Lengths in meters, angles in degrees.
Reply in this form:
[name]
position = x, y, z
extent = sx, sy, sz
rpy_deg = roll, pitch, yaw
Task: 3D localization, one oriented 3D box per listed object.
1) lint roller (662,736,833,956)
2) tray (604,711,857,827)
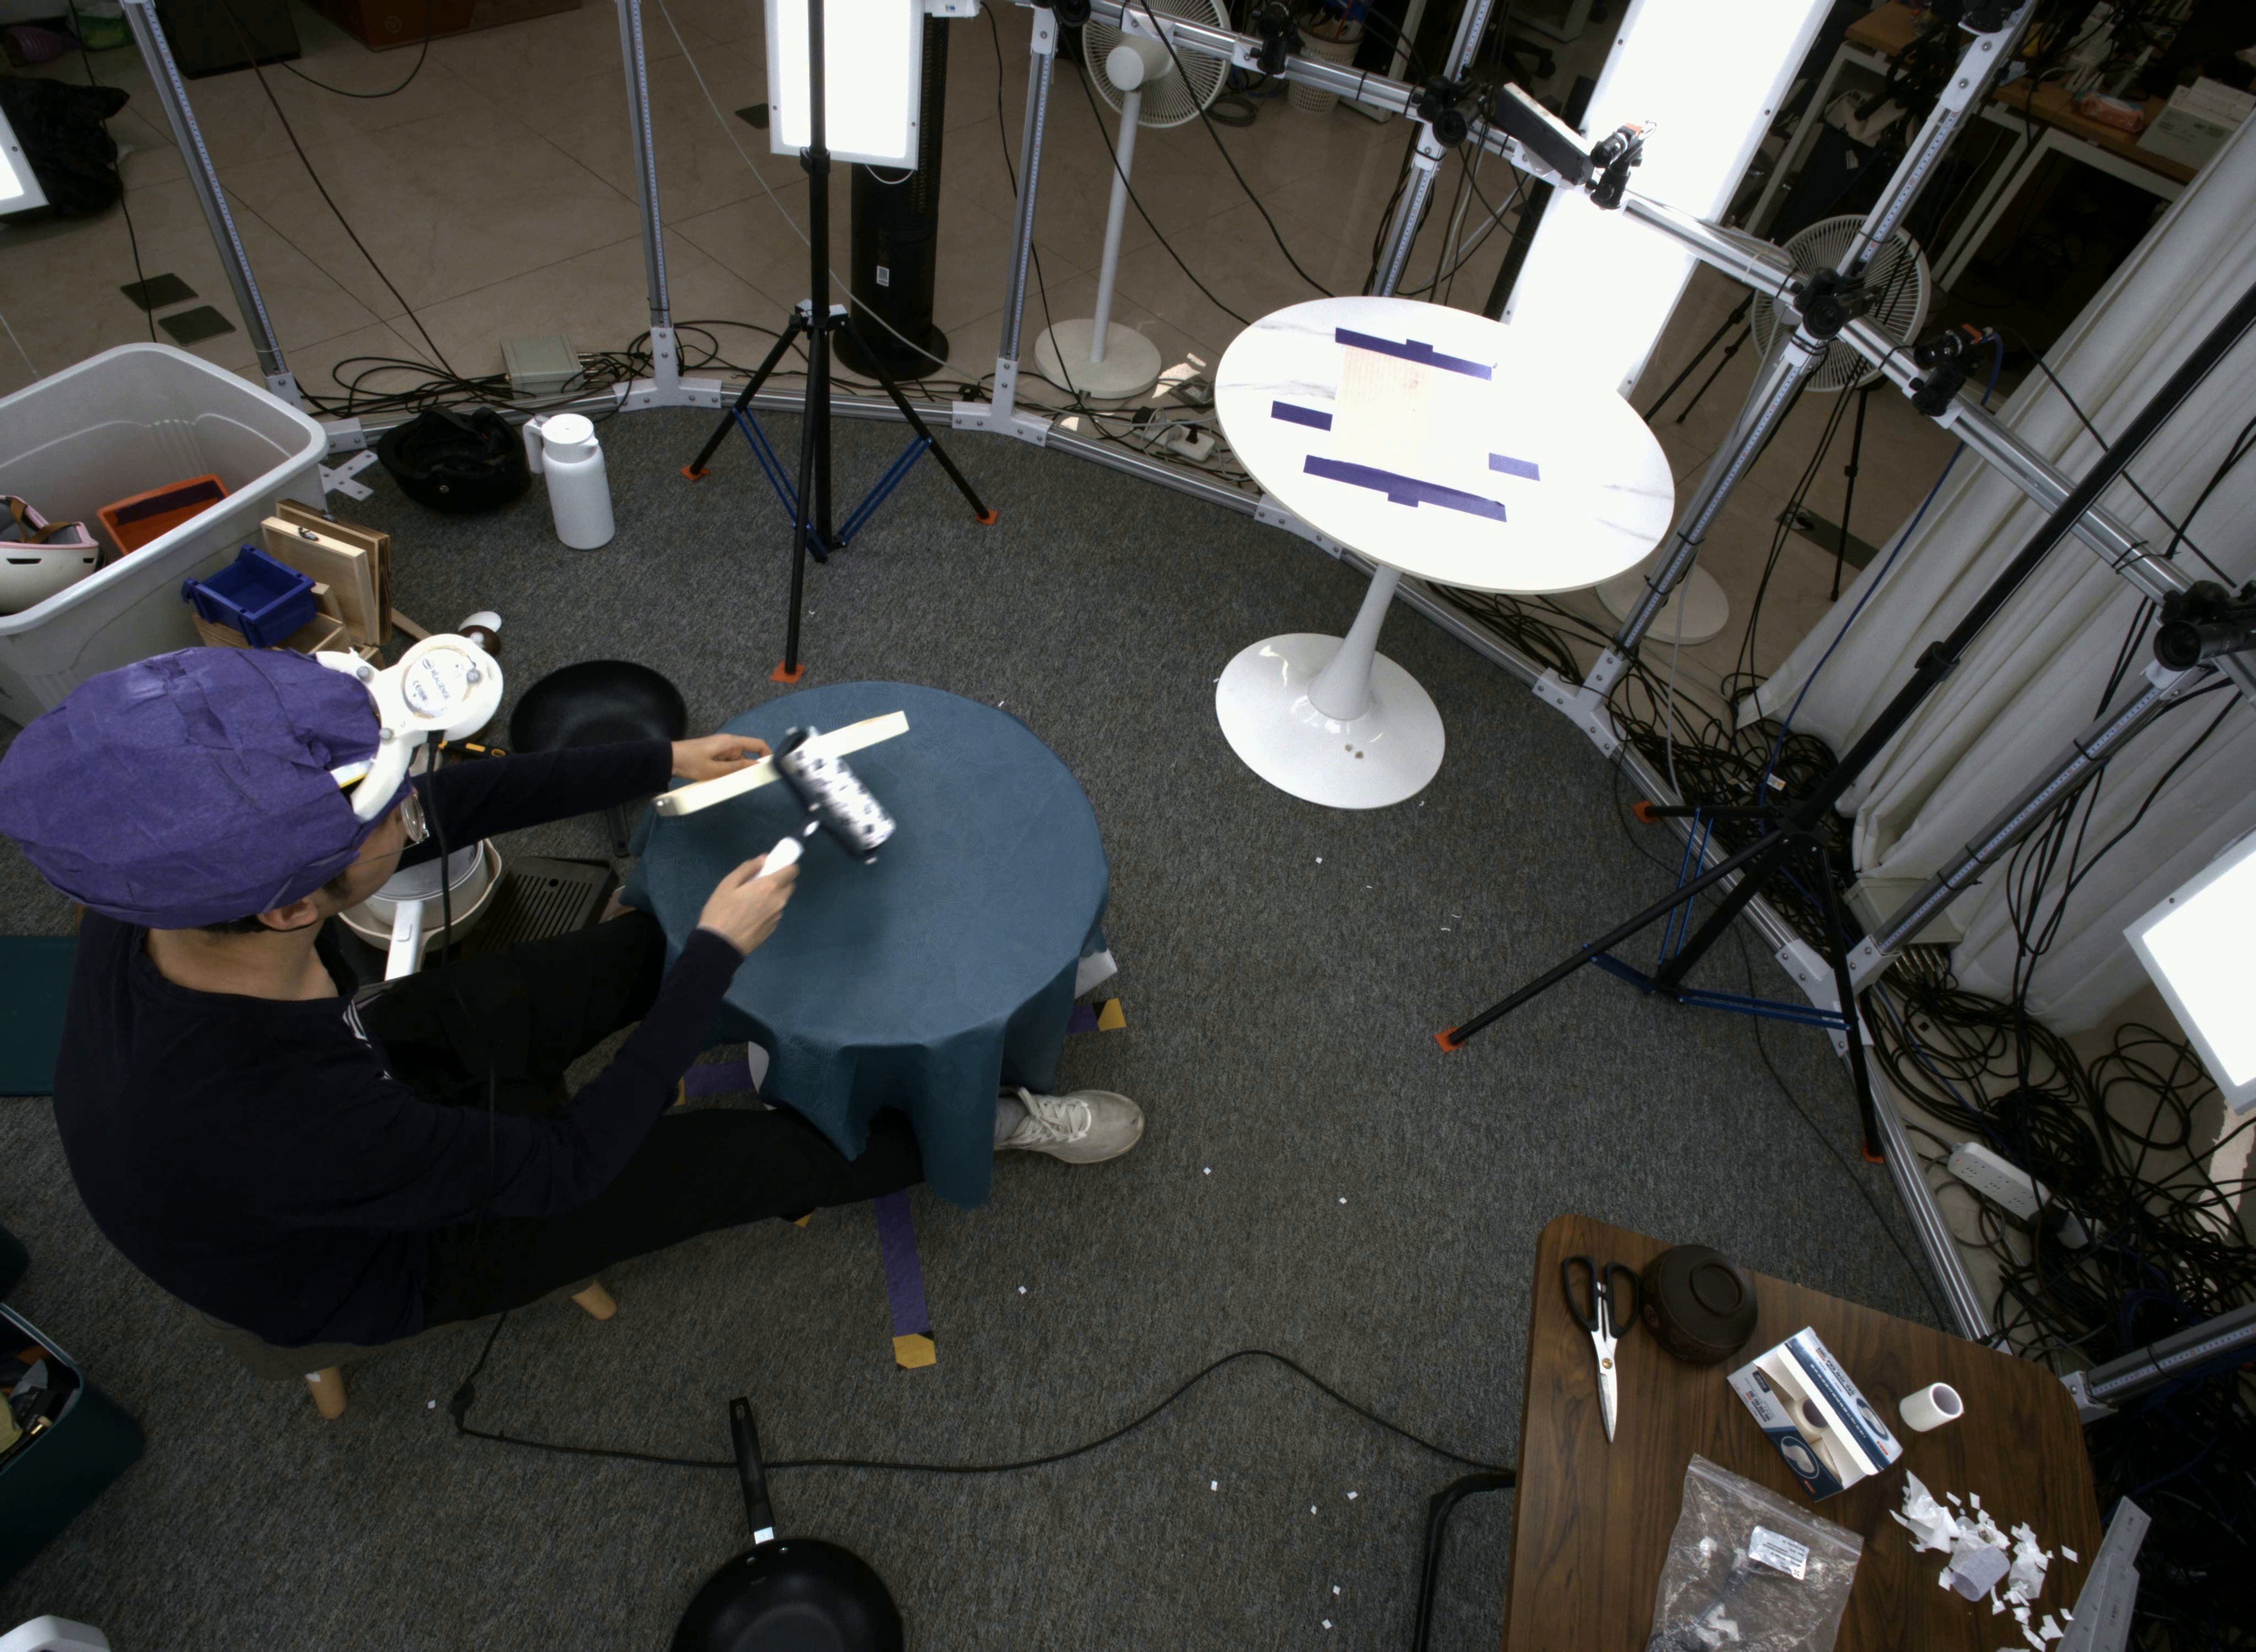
[lint roller]
position = -0.452, 0.044, 1.474
extent = 0.049, 0.183, 0.245
rpy_deg = -2, 49, 37
[tray]
position = -0.495, -0.072, 1.596
extent = 0.301, 0.186, 0.028
rpy_deg = -26, 104, -27
